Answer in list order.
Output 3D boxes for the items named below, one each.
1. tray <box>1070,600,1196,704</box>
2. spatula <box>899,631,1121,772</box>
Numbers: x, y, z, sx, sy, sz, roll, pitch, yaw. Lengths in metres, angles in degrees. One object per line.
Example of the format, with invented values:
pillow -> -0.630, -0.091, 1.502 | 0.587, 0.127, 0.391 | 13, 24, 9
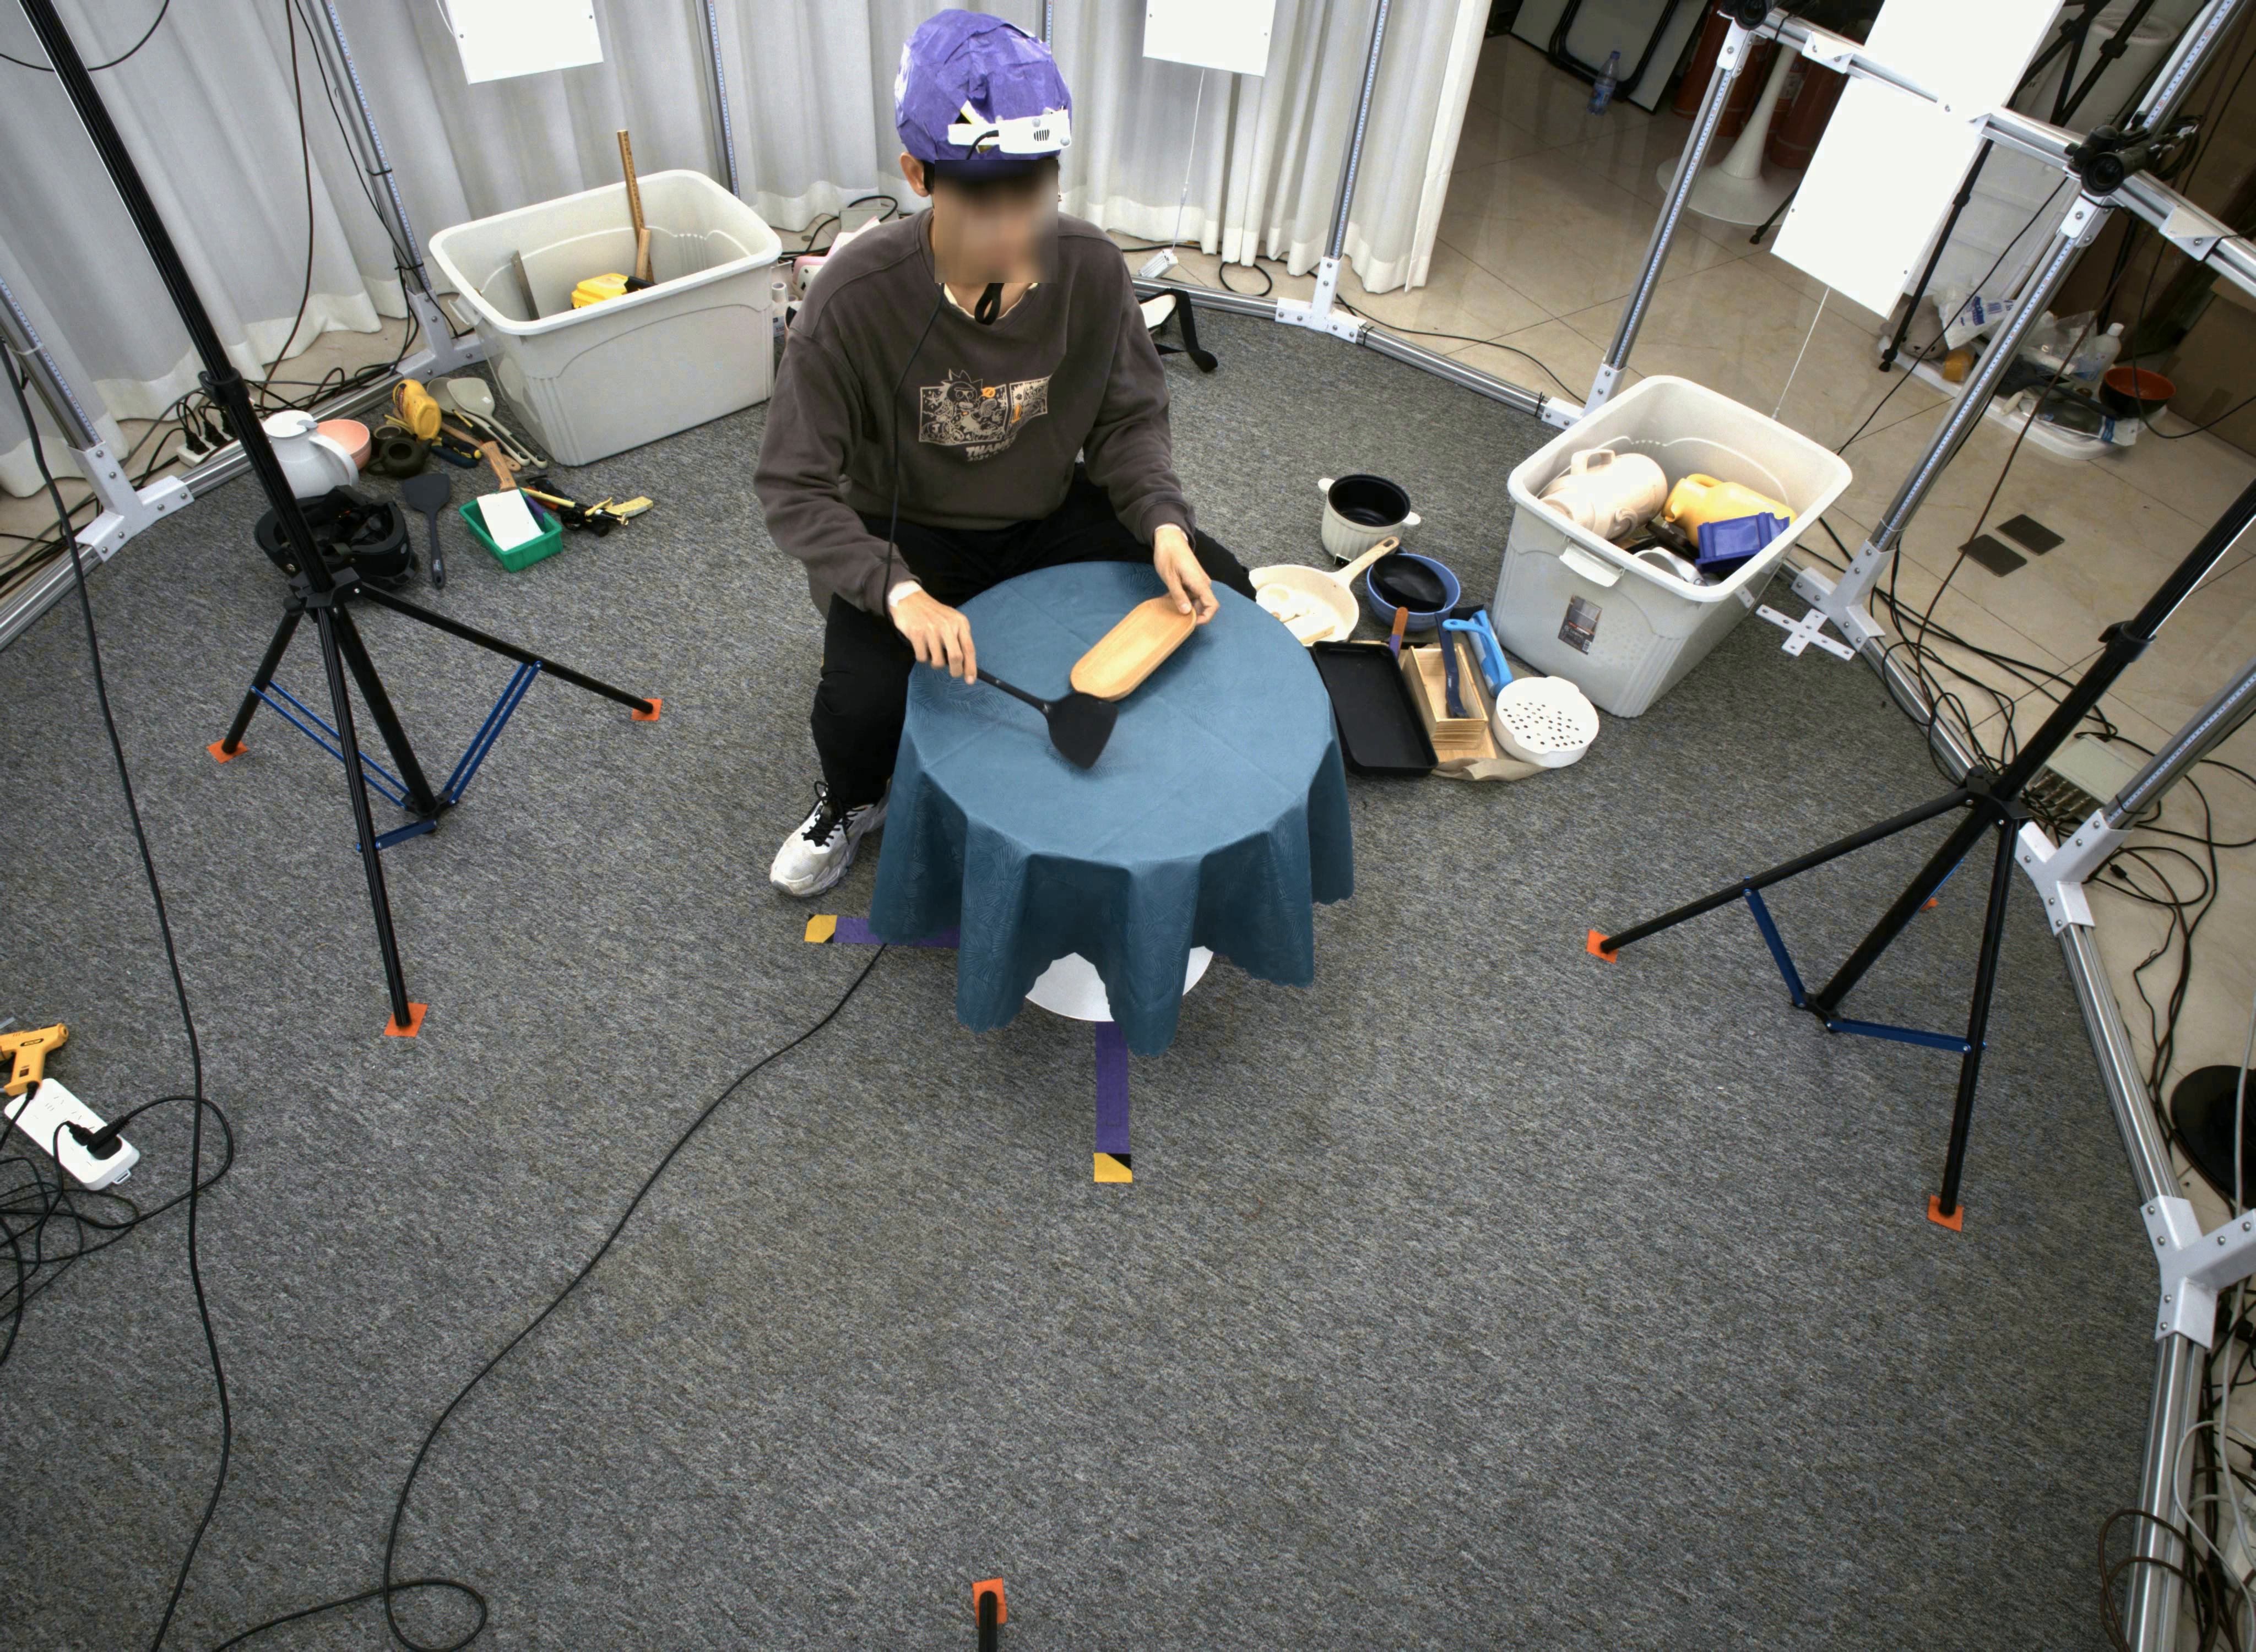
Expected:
tray -> 0.009, -0.253, 1.857 | 0.103, 0.020, 0.234 | 26, 59, 31
spatula -> -0.168, -0.186, 1.736 | 0.327, 0.040, 0.099 | 28, 92, 4
